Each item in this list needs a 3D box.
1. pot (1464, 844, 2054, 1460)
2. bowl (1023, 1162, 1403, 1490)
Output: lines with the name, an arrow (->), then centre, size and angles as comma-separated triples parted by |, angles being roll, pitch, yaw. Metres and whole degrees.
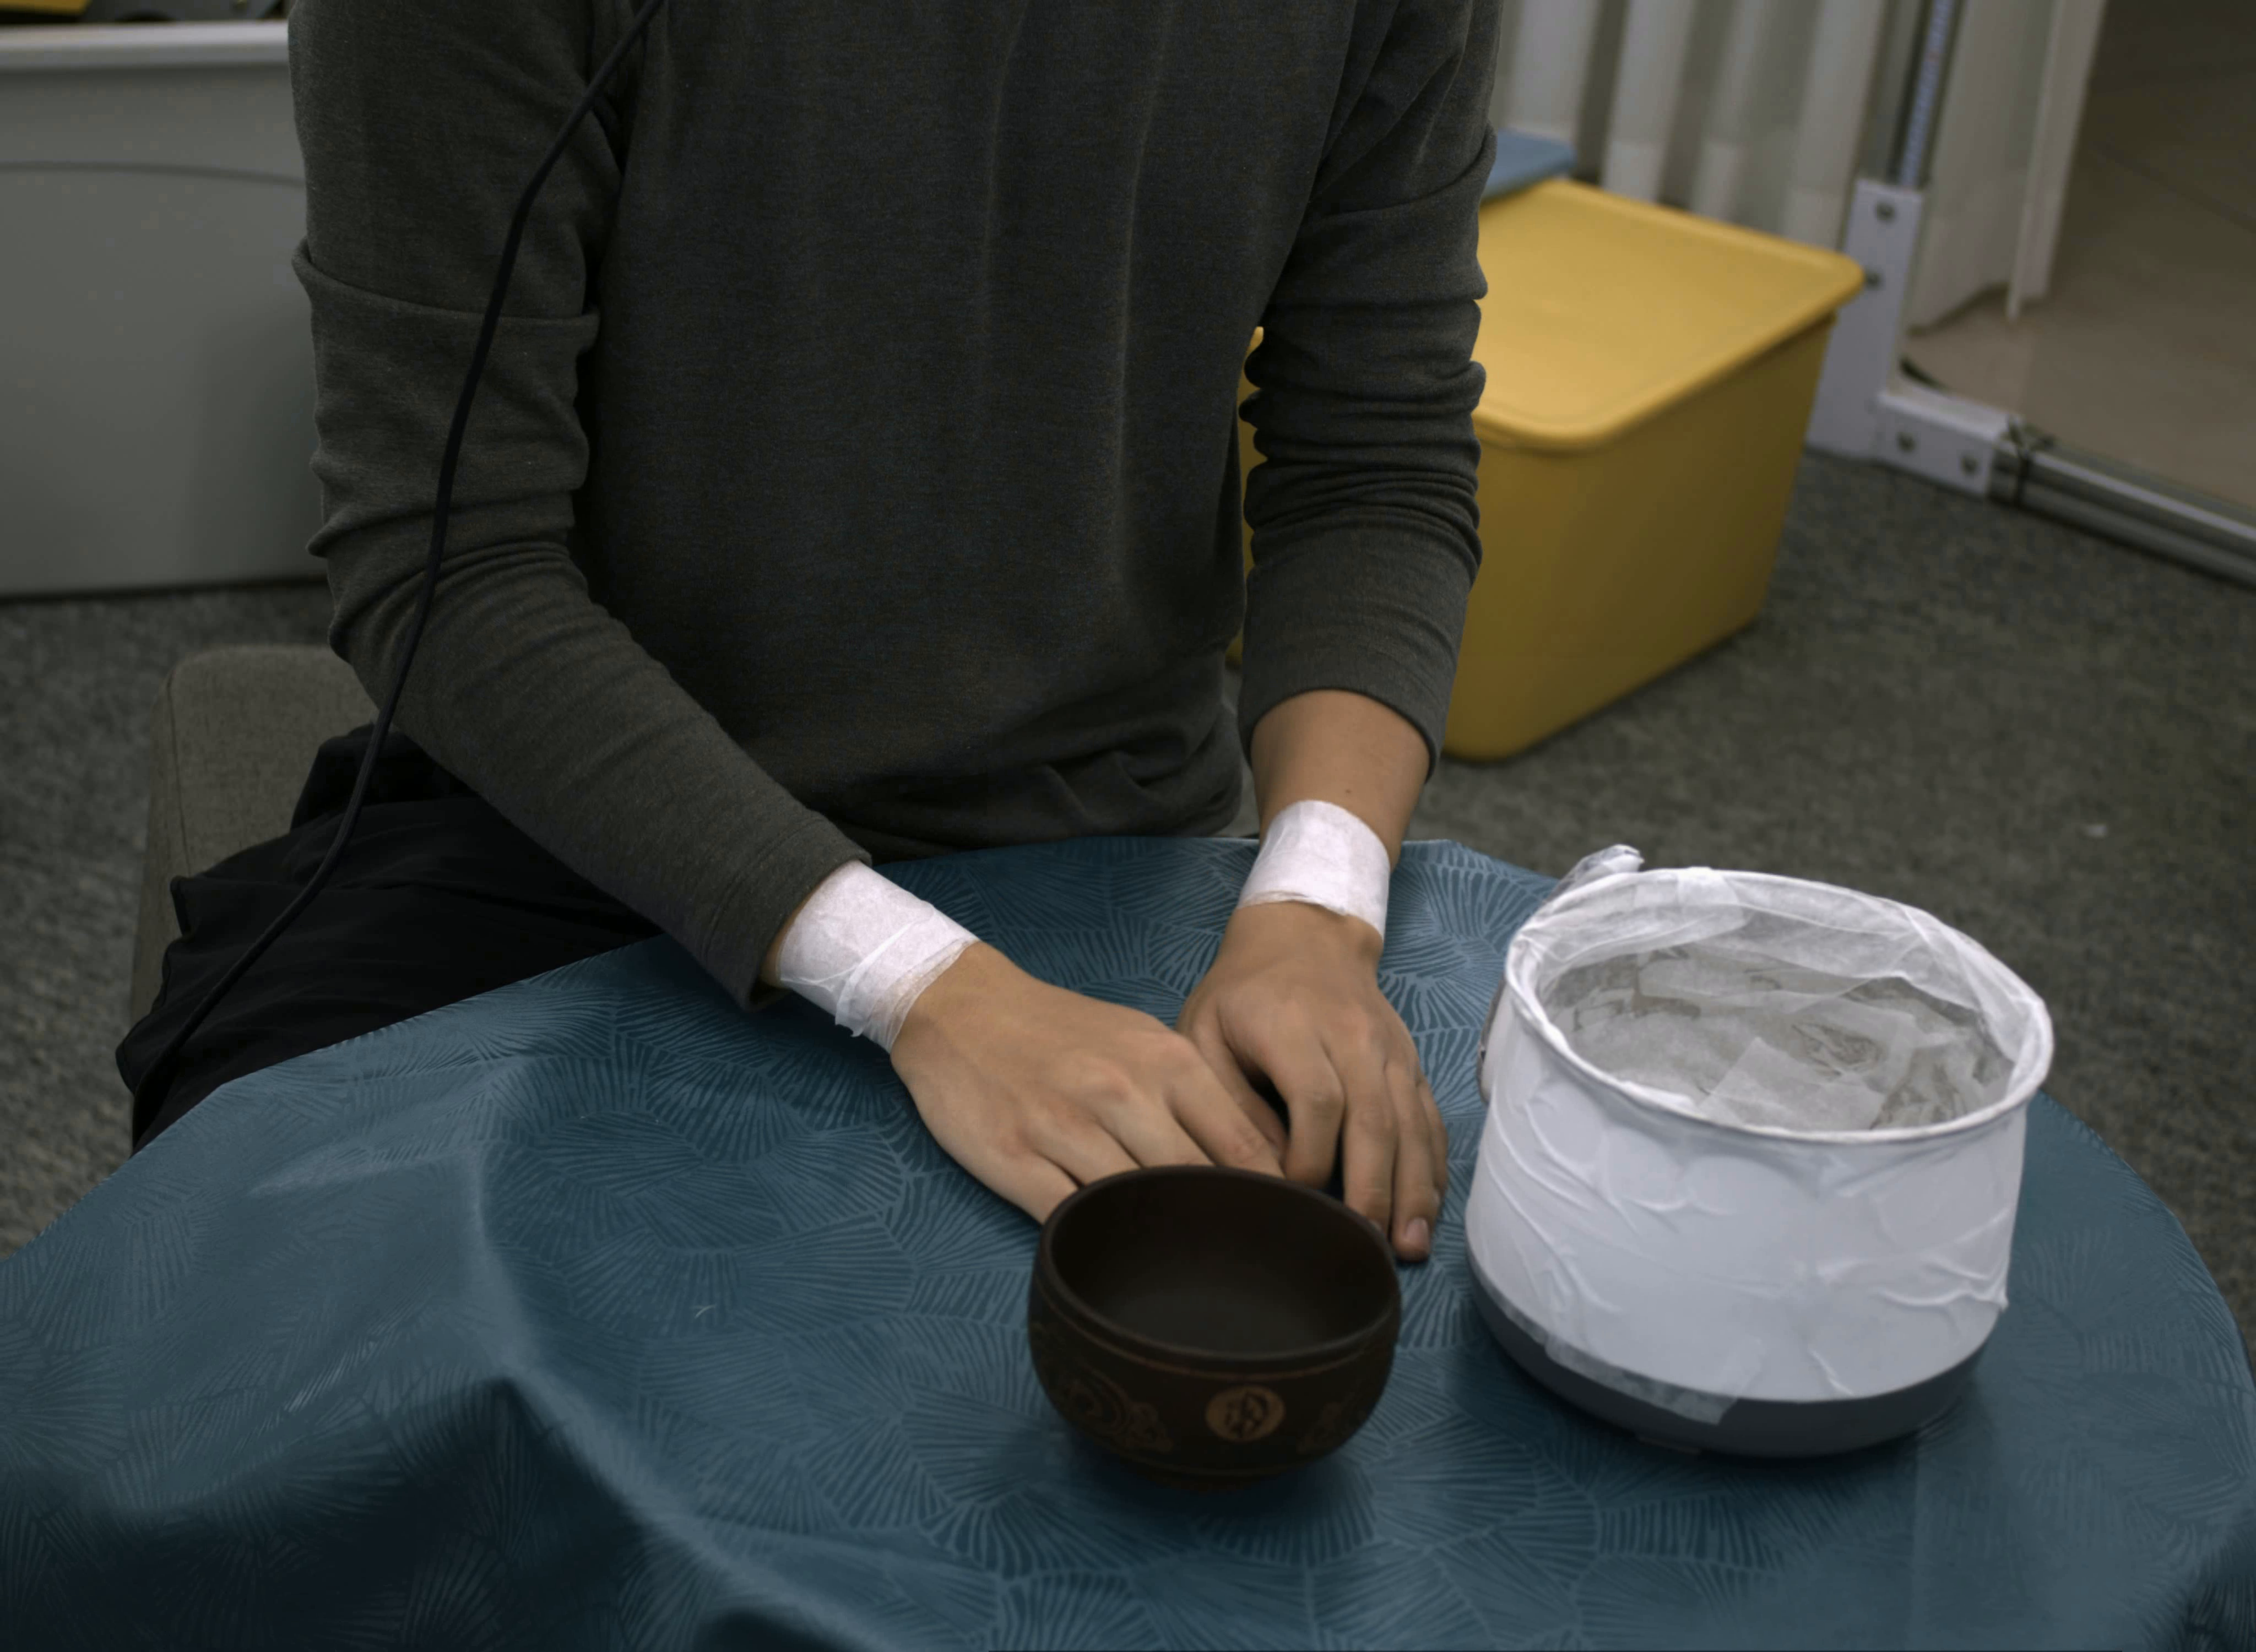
pot -> 0.188, 0.099, 1.747 | 0.177, 0.136, 0.236 | -8, 29, -26
bowl -> 0.025, 0.163, 1.655 | 0.117, 0.069, 0.119 | 4, 25, -2
